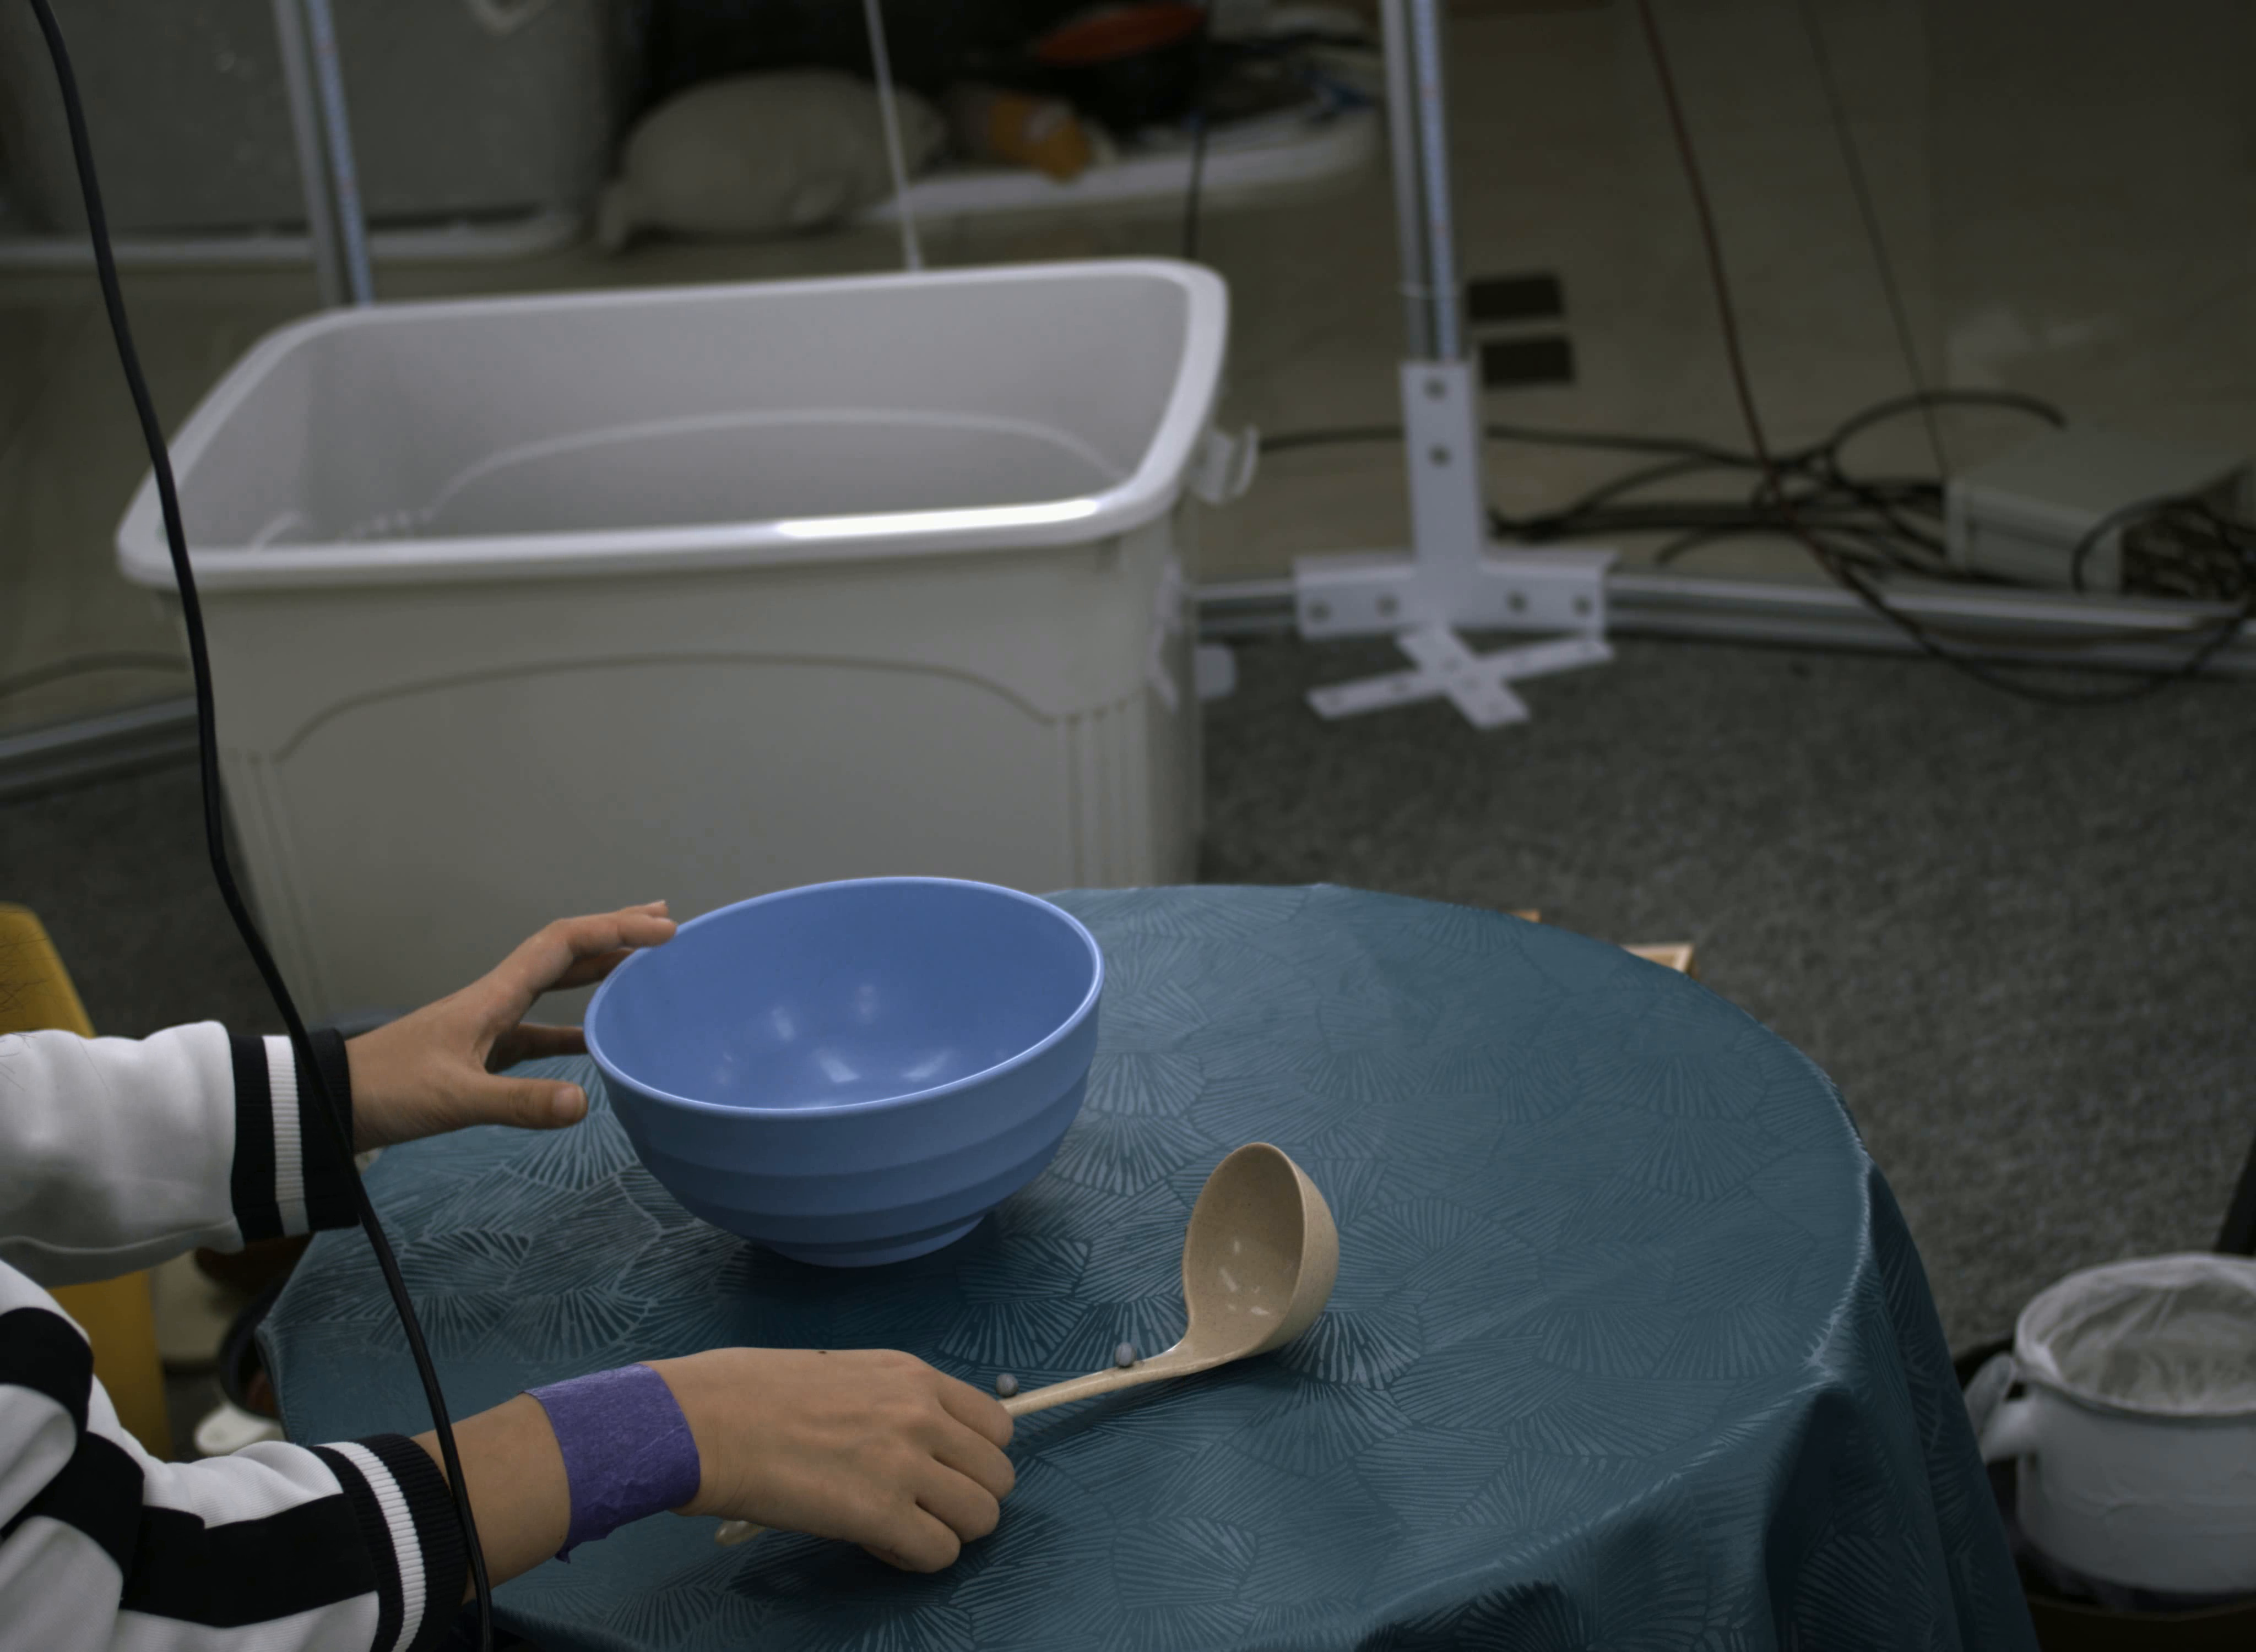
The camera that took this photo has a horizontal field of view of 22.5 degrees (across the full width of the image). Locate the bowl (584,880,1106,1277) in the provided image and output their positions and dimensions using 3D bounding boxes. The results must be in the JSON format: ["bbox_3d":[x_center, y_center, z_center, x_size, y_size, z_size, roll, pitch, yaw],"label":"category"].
[{"bbox_3d":[-0.101,0.106,2.138,0.196,0.097,0.193,-5,27,3],"label":"bowl"}]

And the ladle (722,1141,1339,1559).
[{"bbox_3d":[-0.038,0.178,1.974,0.253,0.074,0.071,-19,21,-31],"label":"ladle"}]
